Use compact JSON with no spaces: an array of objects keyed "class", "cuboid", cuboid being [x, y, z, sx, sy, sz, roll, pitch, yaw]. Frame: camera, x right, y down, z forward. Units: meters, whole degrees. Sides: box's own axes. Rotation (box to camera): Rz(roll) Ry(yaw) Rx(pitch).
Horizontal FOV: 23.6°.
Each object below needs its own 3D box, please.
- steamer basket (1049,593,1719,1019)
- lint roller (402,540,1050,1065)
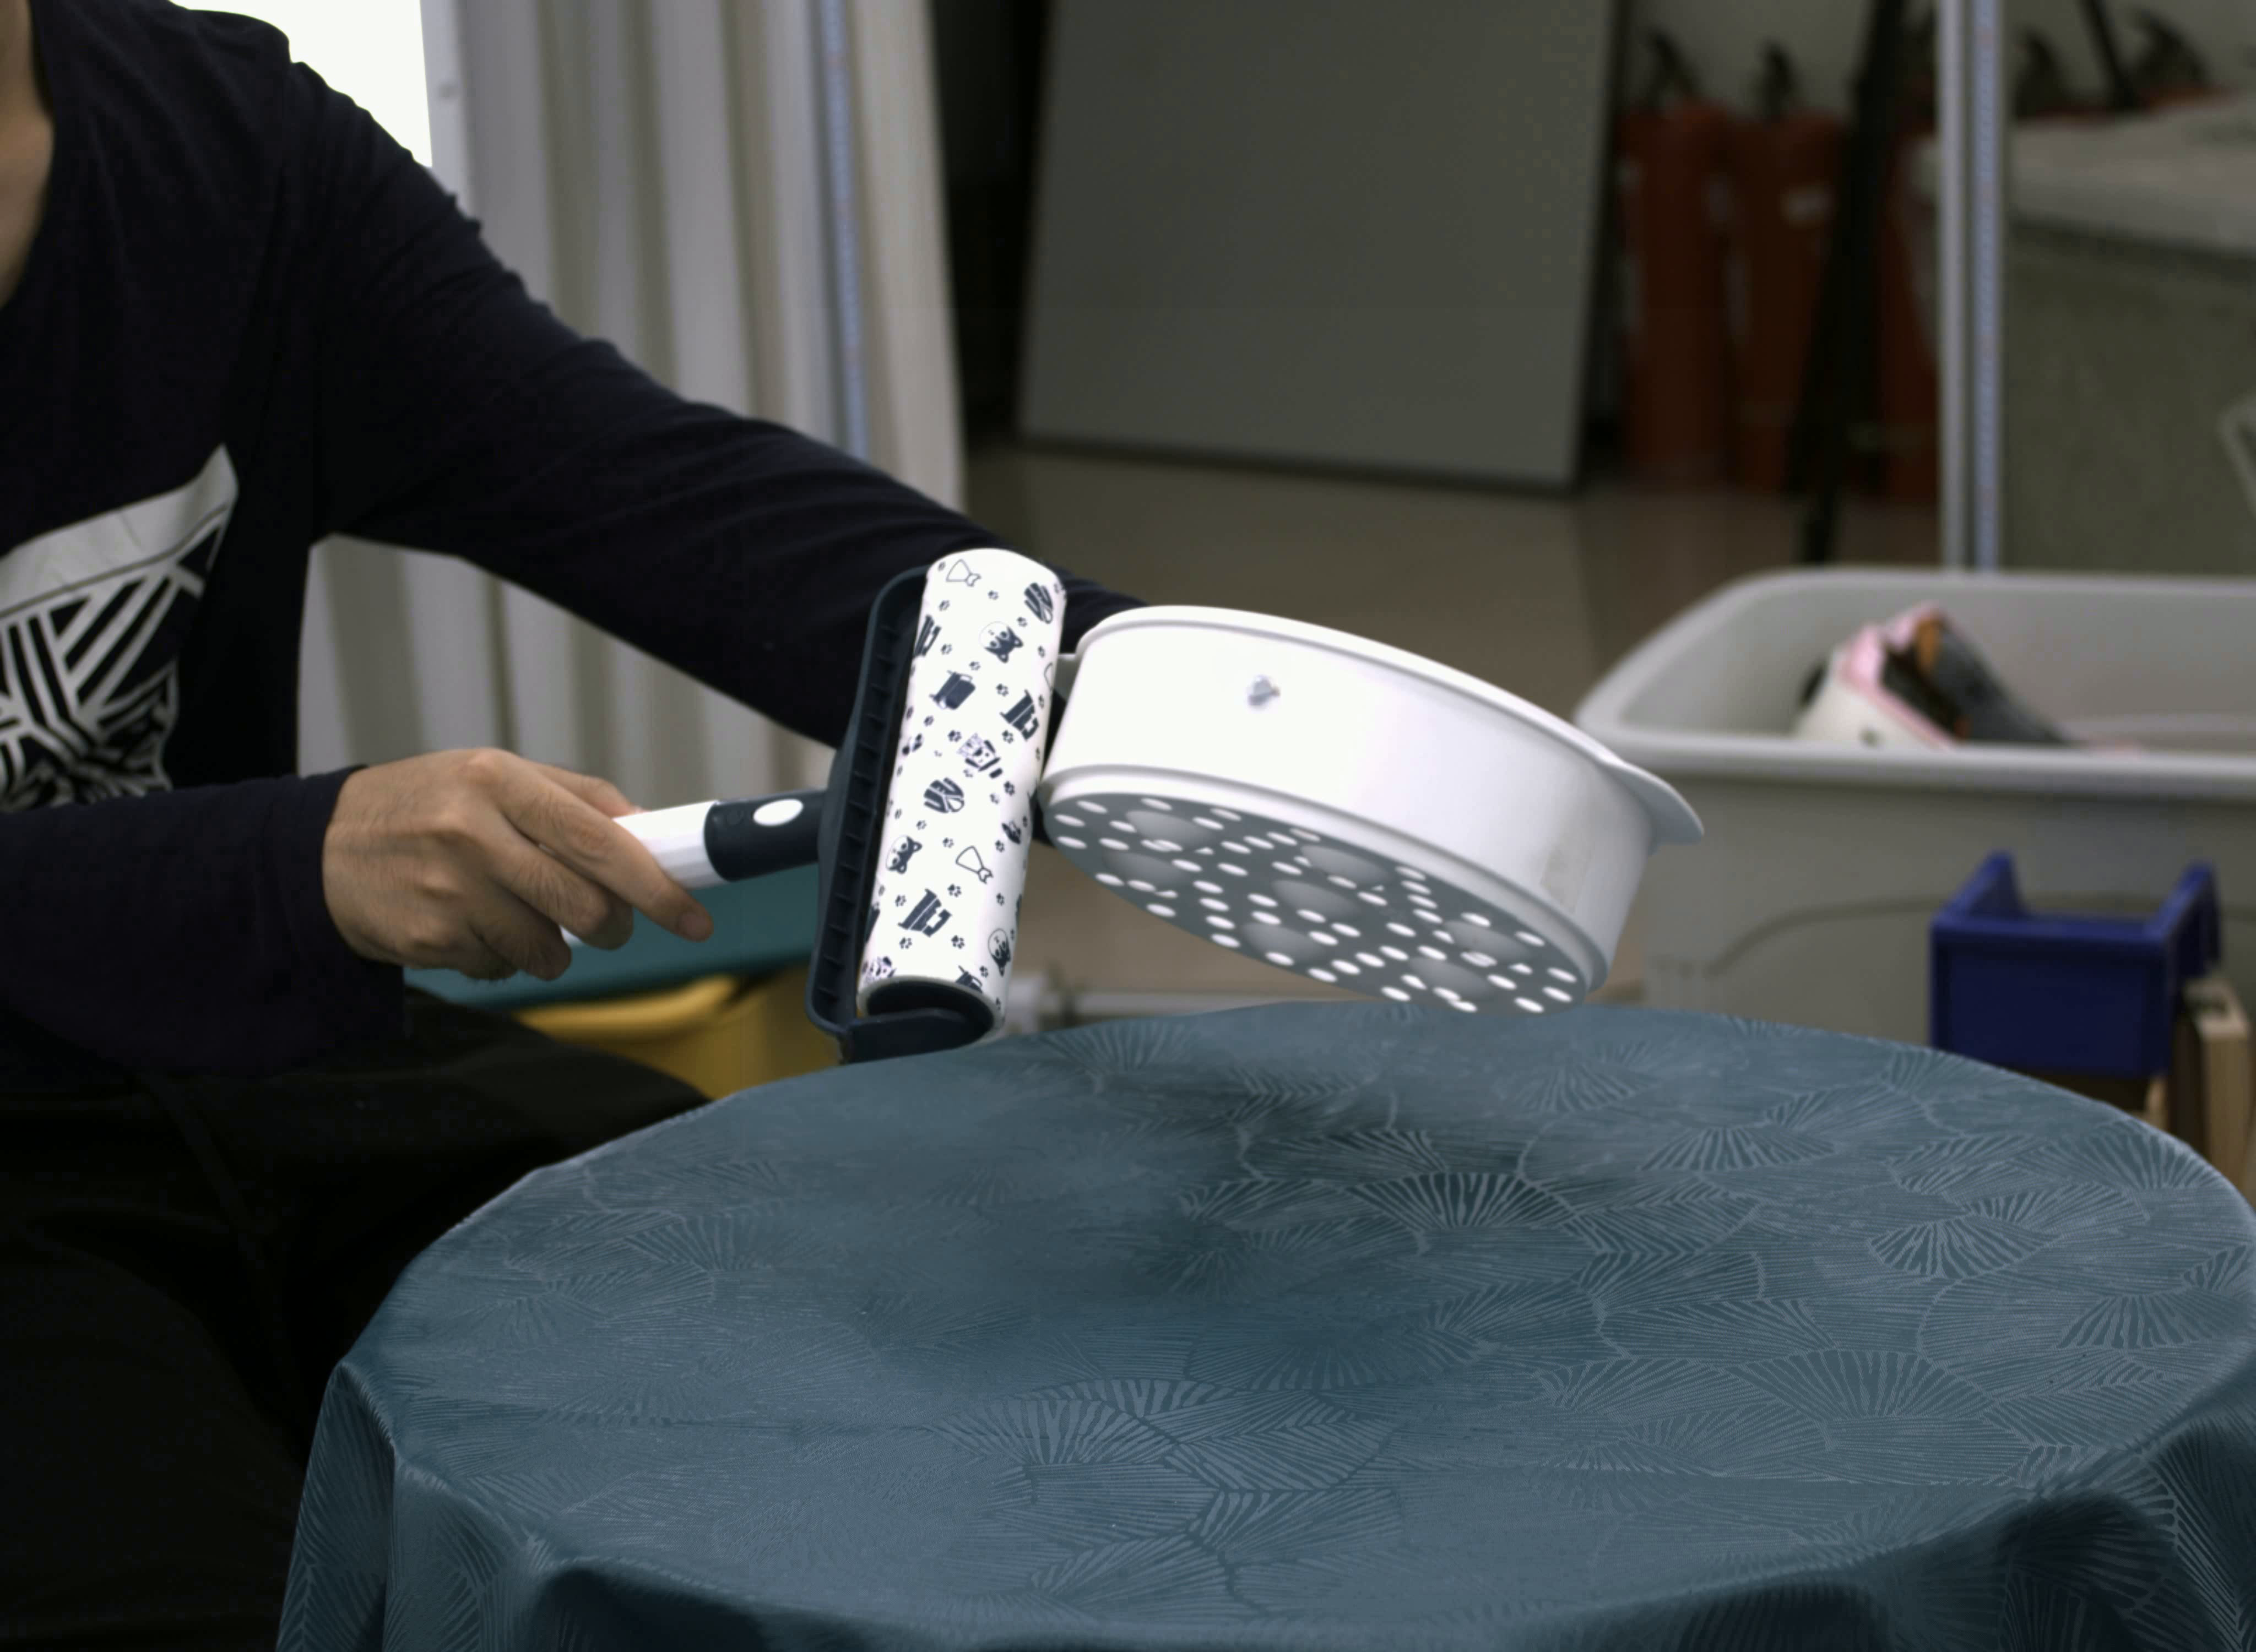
[{"class":"steamer basket","cuboid":[0.073,-0.001,1.726,0.231,0.070,0.199,9,-19,28]},{"class":"lint roller","cuboid":[-0.141,0.009,1.770,0.248,0.178,0.050,-12,-35,28]}]
